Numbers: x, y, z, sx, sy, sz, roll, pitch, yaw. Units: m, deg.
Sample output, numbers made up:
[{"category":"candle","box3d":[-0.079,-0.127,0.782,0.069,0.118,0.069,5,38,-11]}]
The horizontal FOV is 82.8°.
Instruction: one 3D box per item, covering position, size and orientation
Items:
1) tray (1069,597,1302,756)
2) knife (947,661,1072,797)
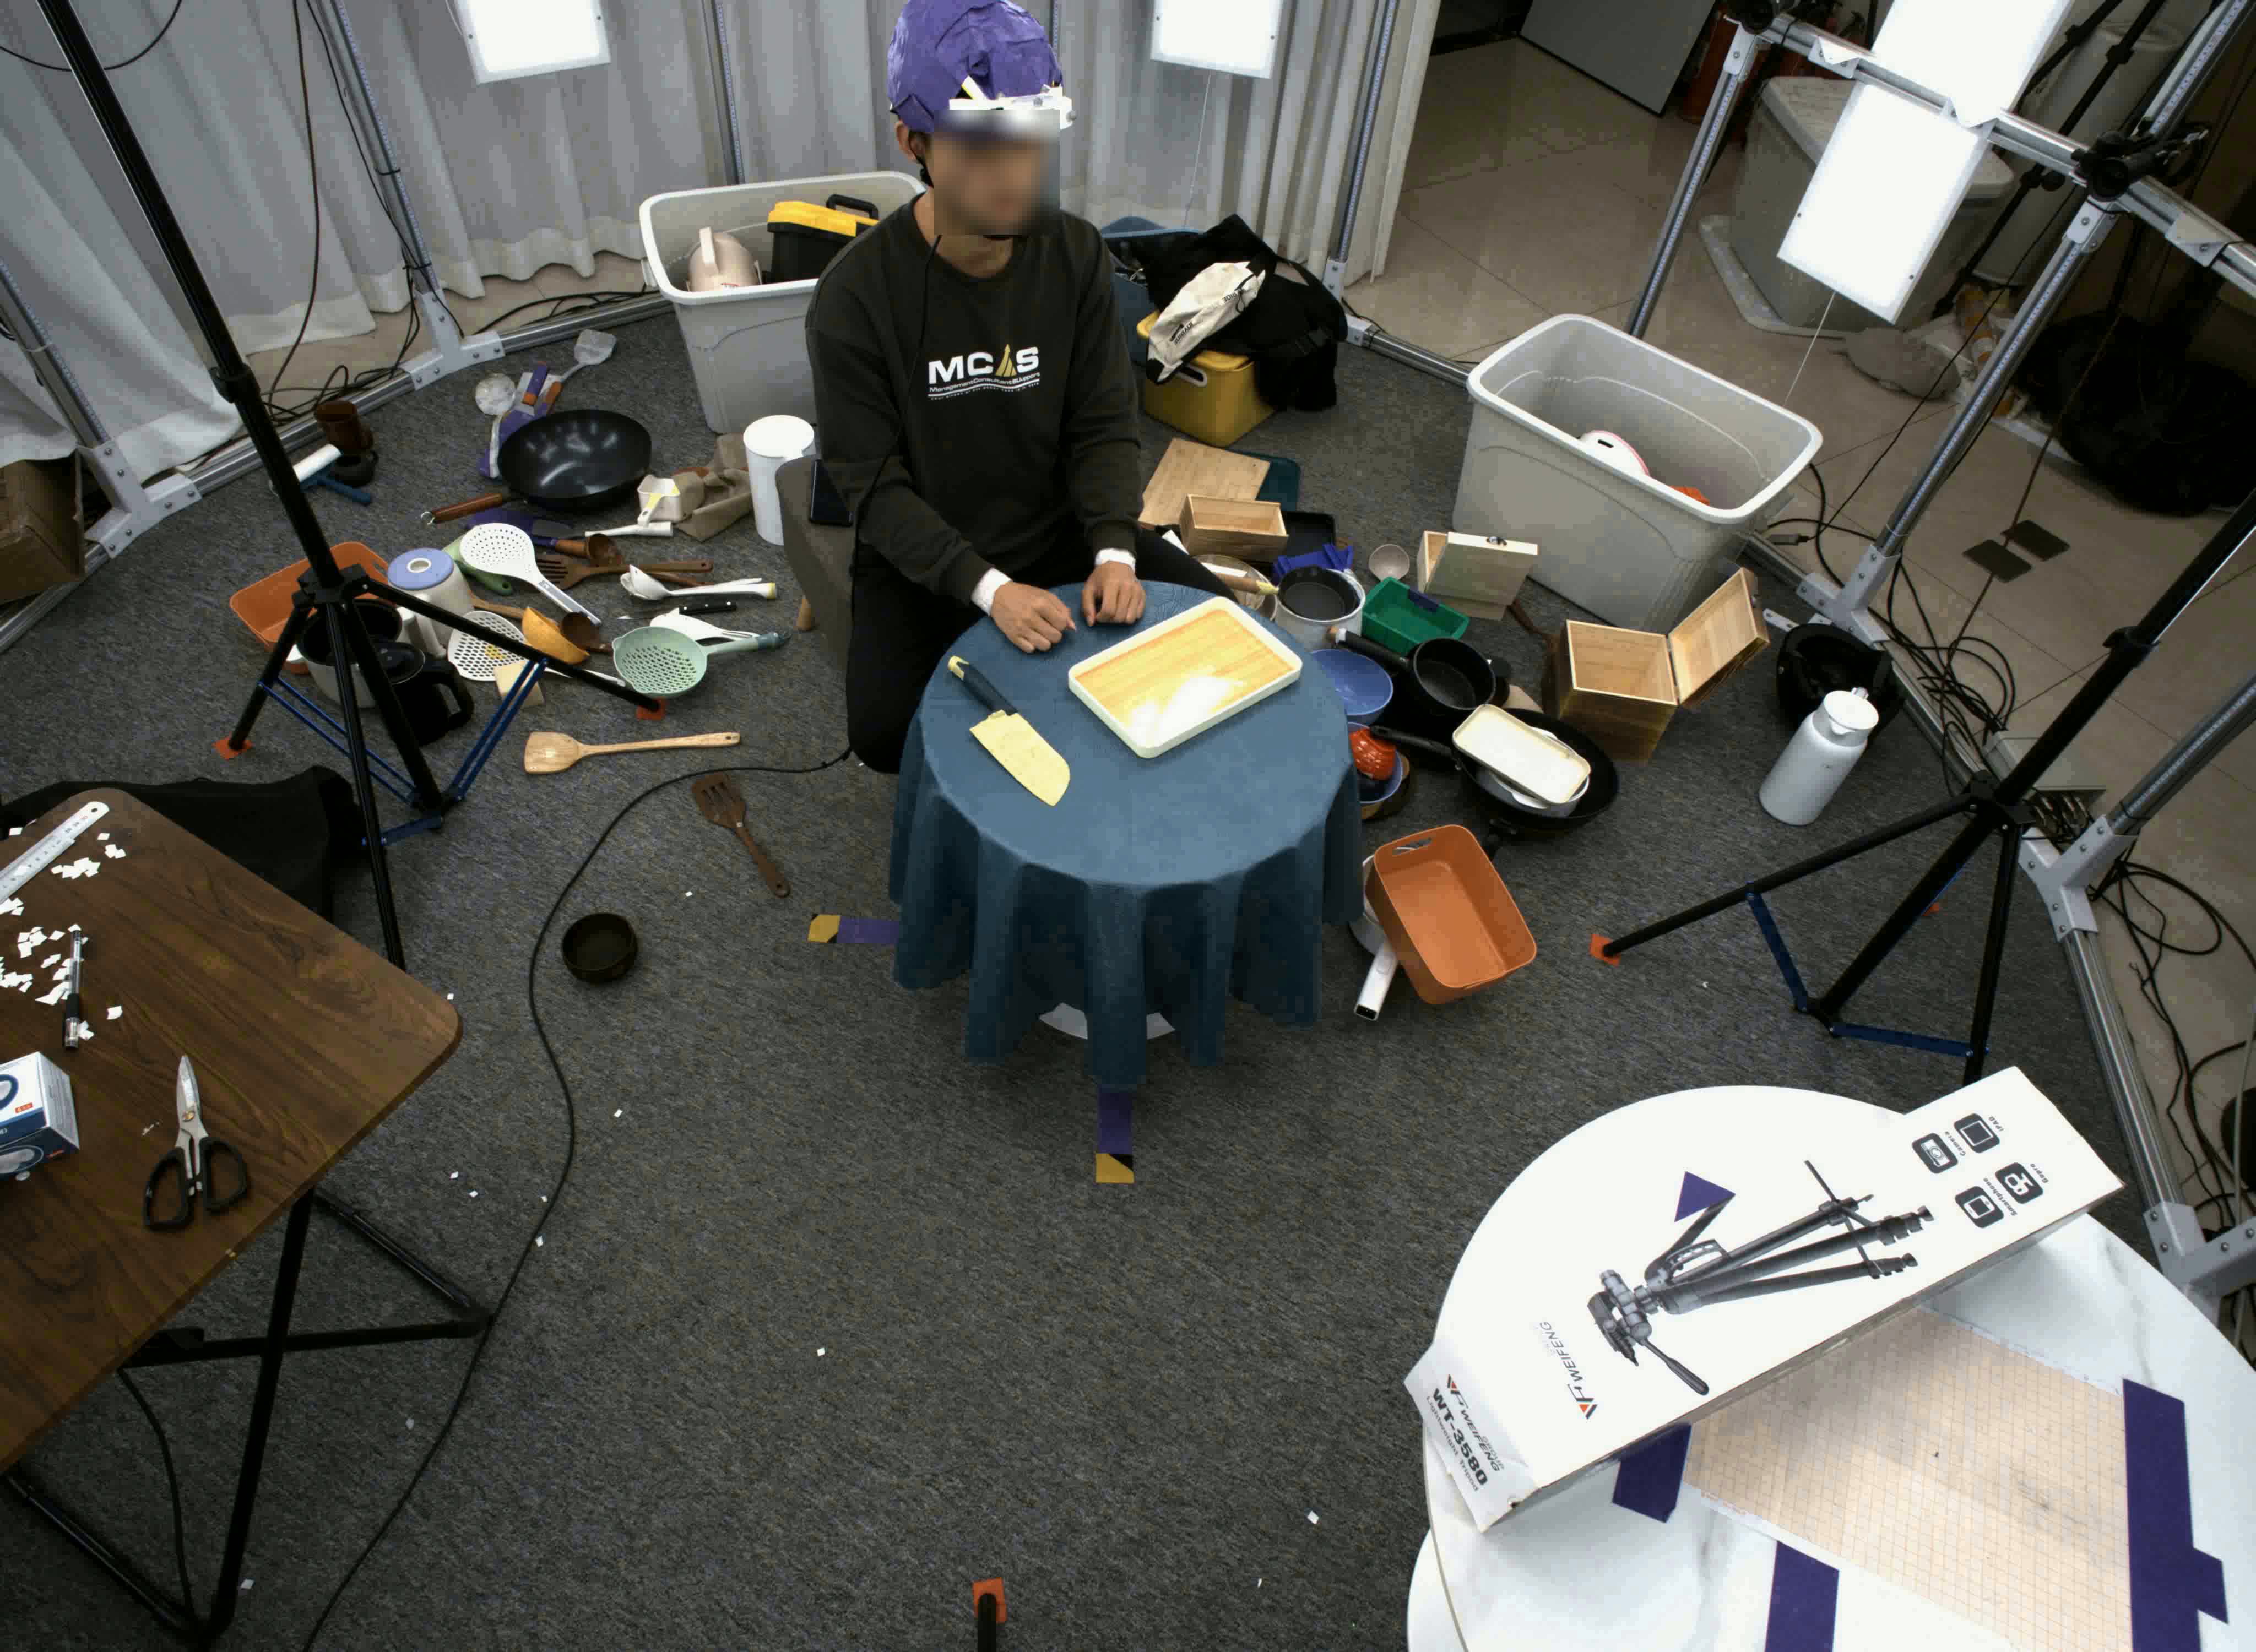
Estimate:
[{"category":"tray","box3d":[0.083,-0.221,1.847,0.302,0.027,0.195,-29,56,-26]},{"category":"knife","box3d":[-0.173,-0.133,1.762,0.081,0.026,0.295,-27,57,-26]}]
